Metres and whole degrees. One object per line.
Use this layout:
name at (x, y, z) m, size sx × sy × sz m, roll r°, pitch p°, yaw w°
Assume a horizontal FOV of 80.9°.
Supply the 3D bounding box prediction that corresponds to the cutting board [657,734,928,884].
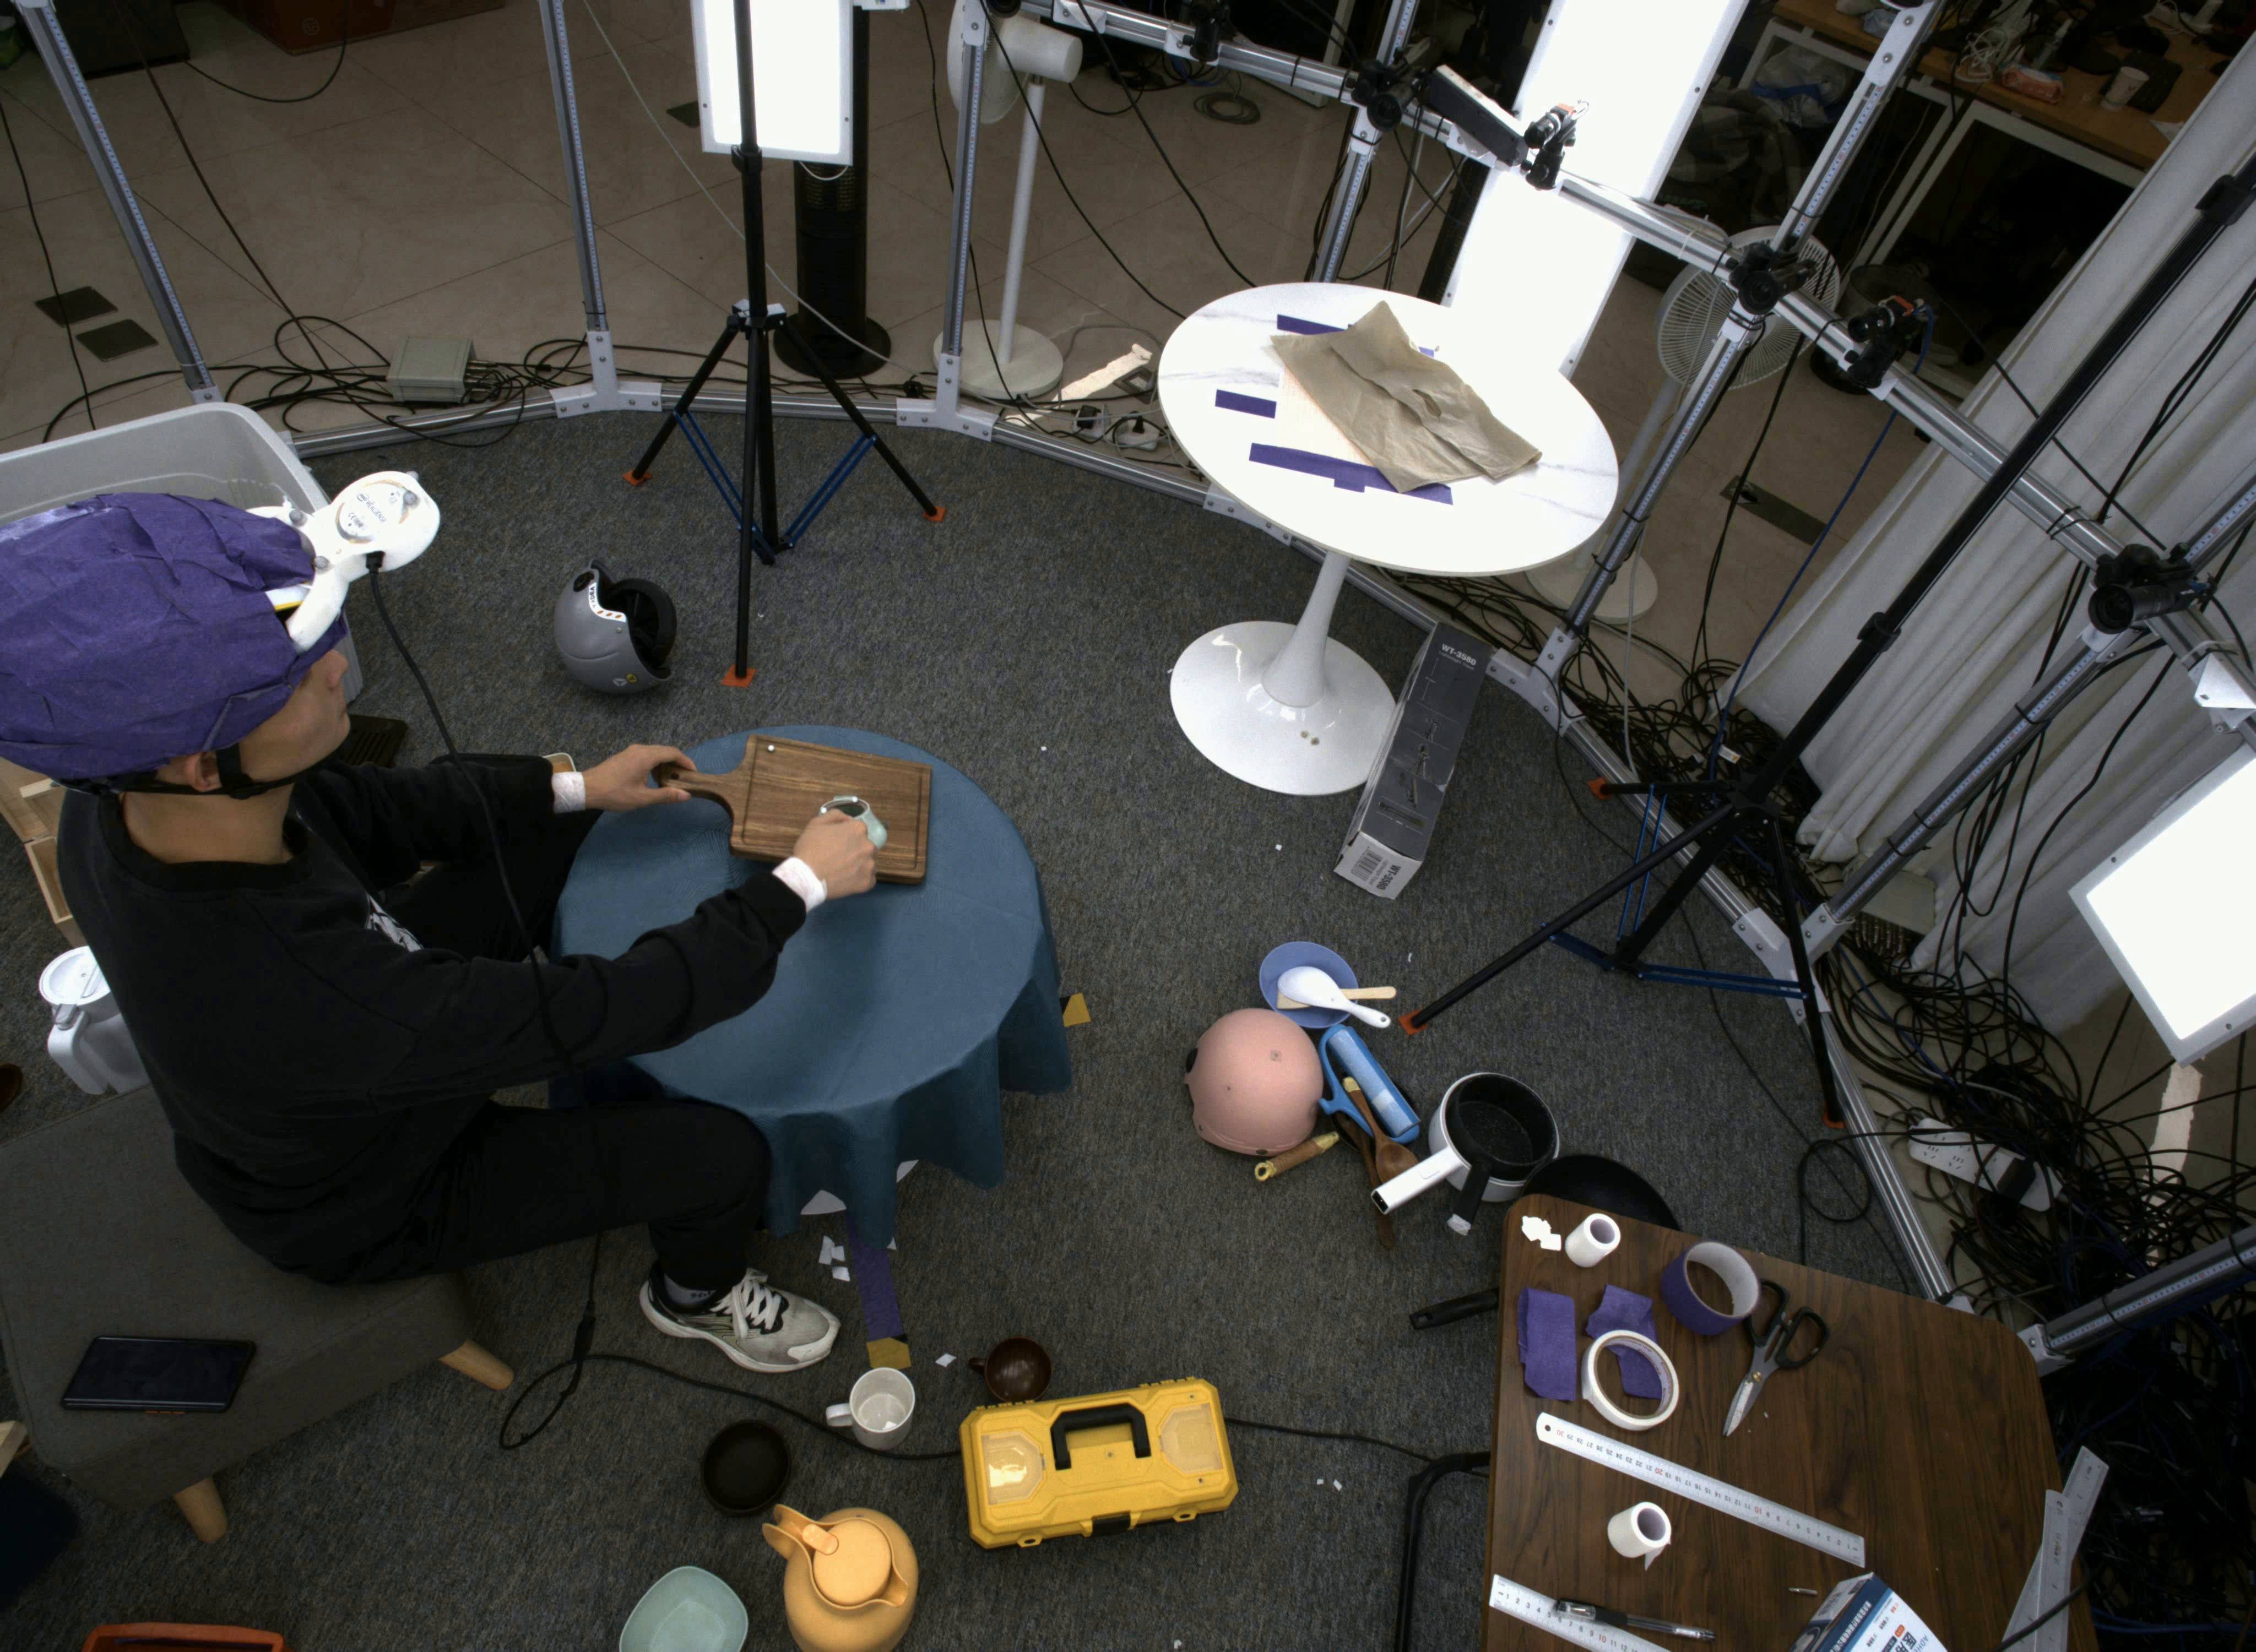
cutting board at (-0.434, -0.032, 1.692) m, size 0.356 × 0.023 × 0.197 m, roll 9°, pitch 52°, yaw -20°

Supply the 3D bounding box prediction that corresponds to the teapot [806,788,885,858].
teapot at (-0.345, 0.001, 1.580) m, size 0.096 × 0.063 × 0.132 m, roll -11°, pitch 25°, yaw -20°
